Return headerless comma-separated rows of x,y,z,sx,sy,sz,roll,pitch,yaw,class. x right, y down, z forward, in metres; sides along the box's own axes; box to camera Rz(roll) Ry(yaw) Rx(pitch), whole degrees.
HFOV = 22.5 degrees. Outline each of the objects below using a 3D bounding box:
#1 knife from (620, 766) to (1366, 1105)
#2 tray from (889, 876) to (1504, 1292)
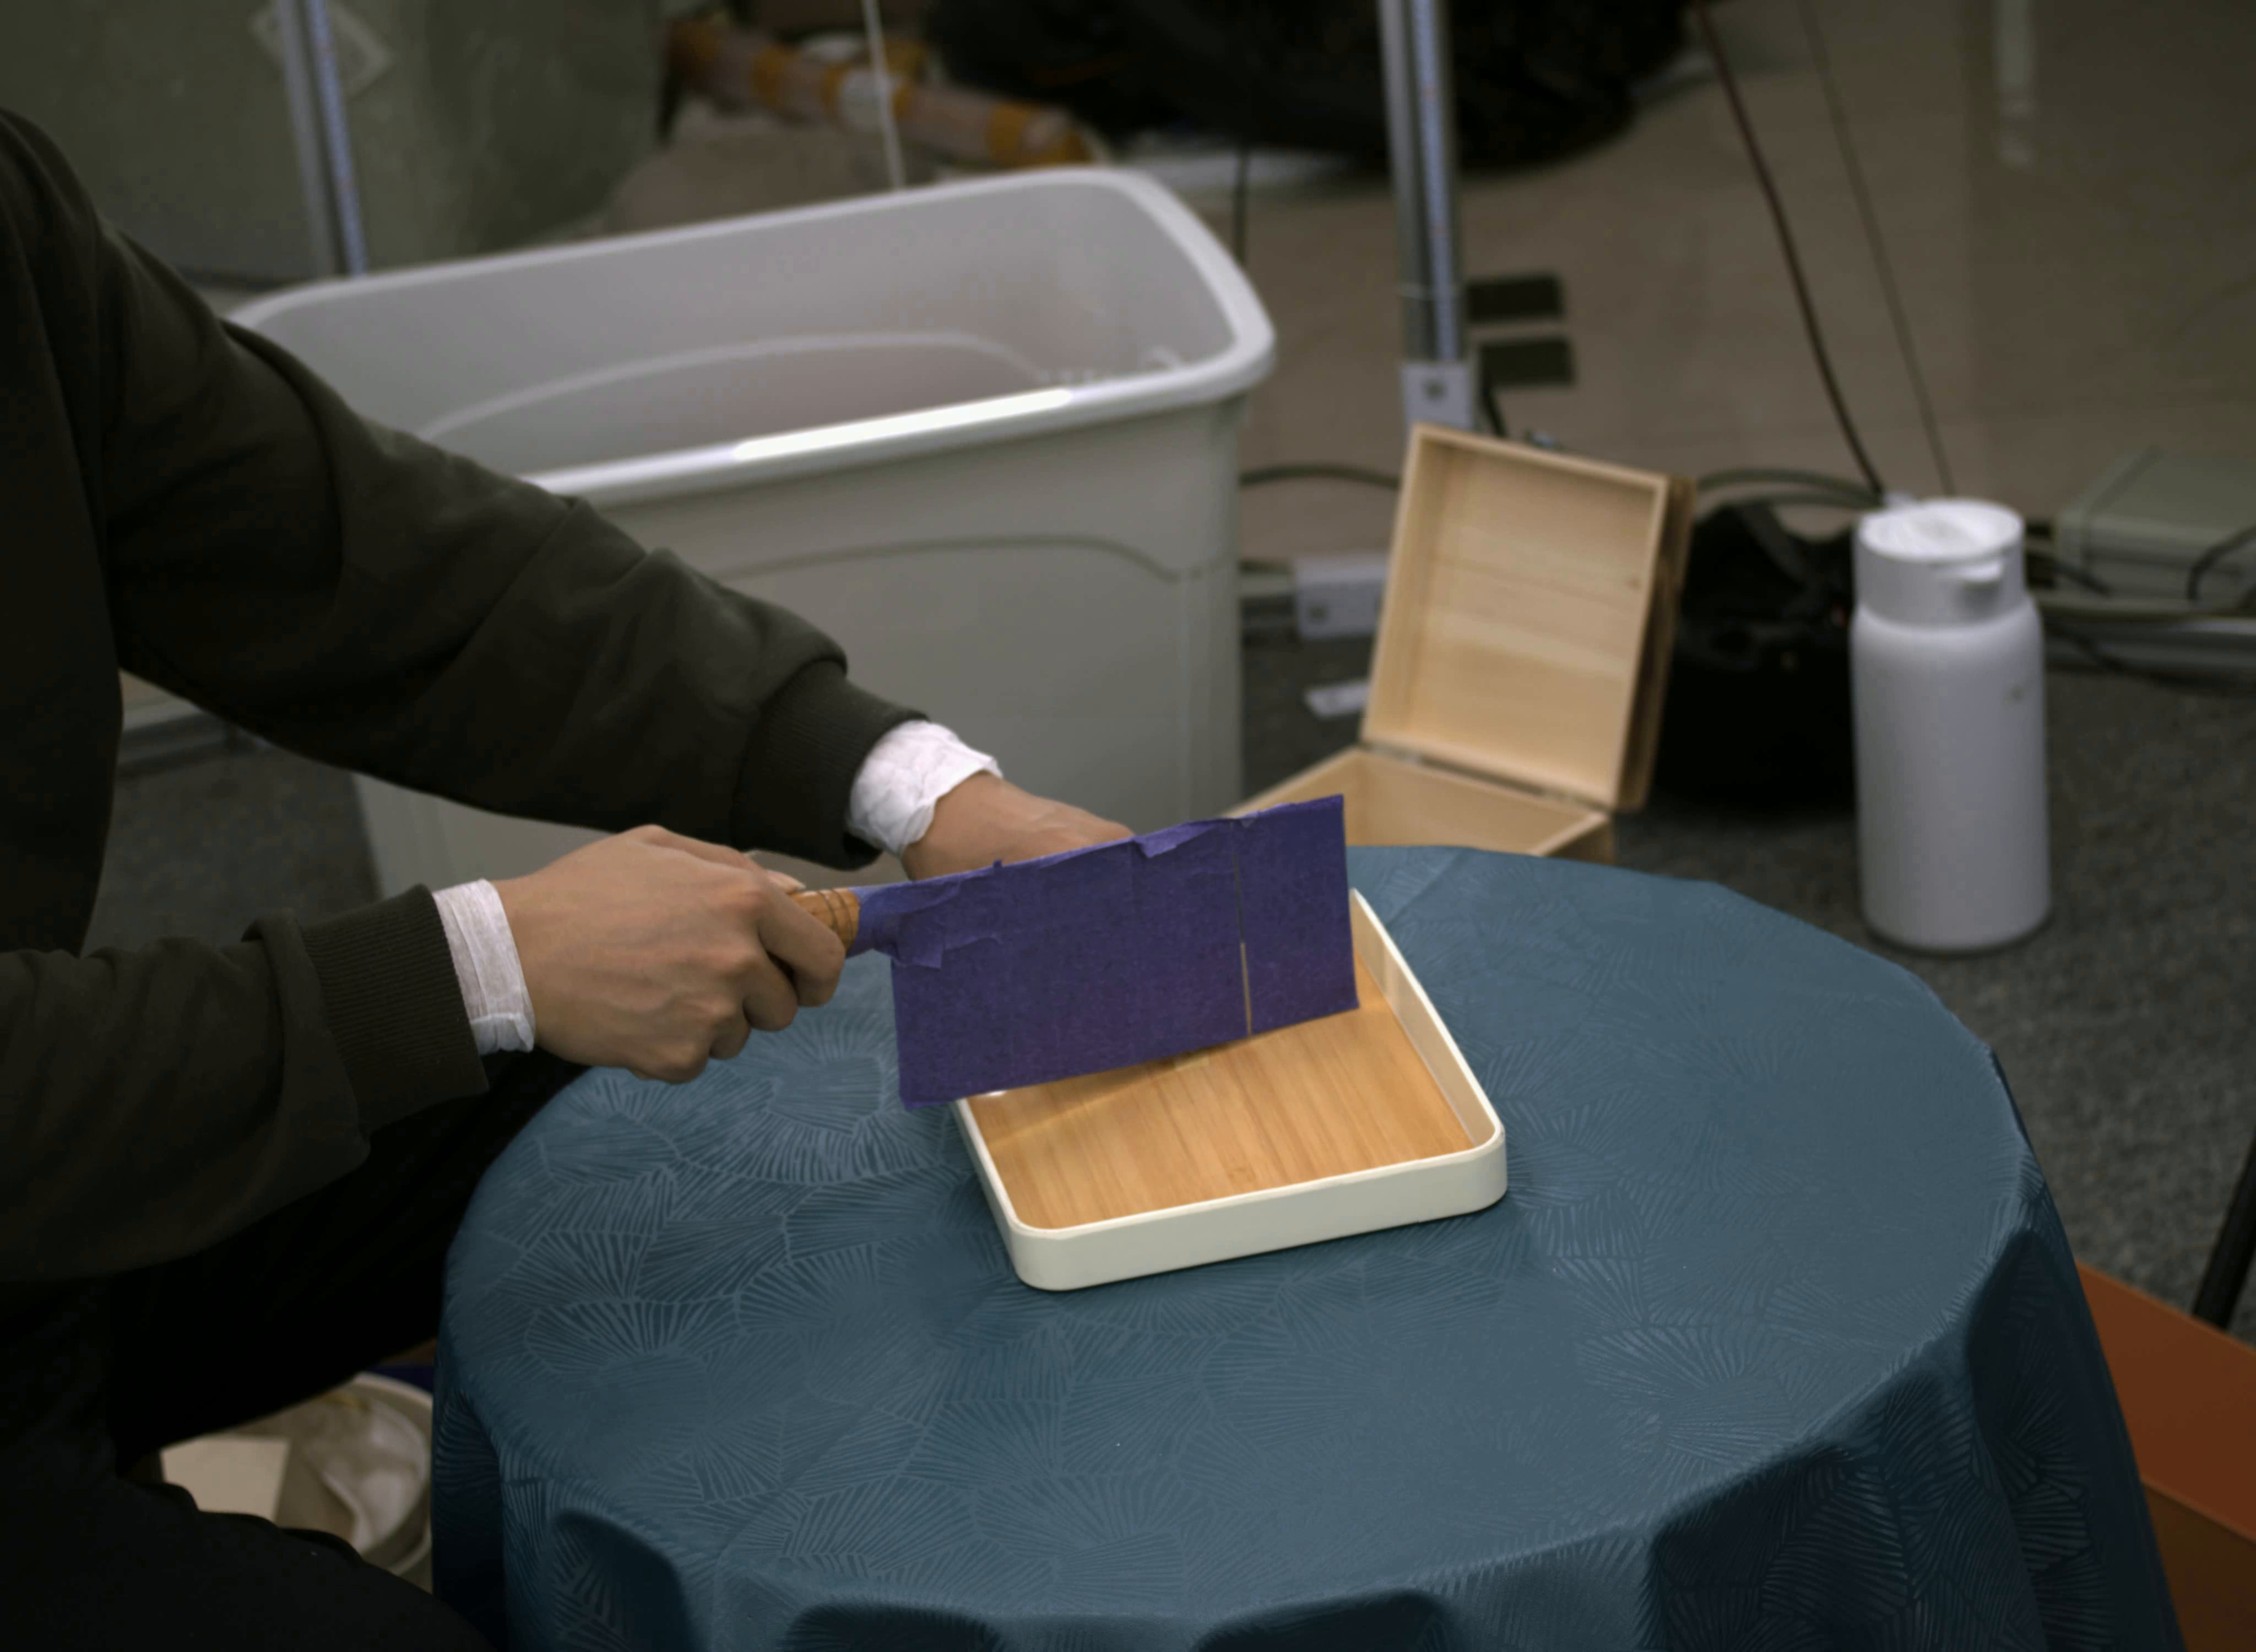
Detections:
-0.043,0.055,2.172,0.314,0.105,0.032,-12,17,-26,knife
0.021,0.089,2.222,0.191,0.028,0.296,-11,25,-8,tray
